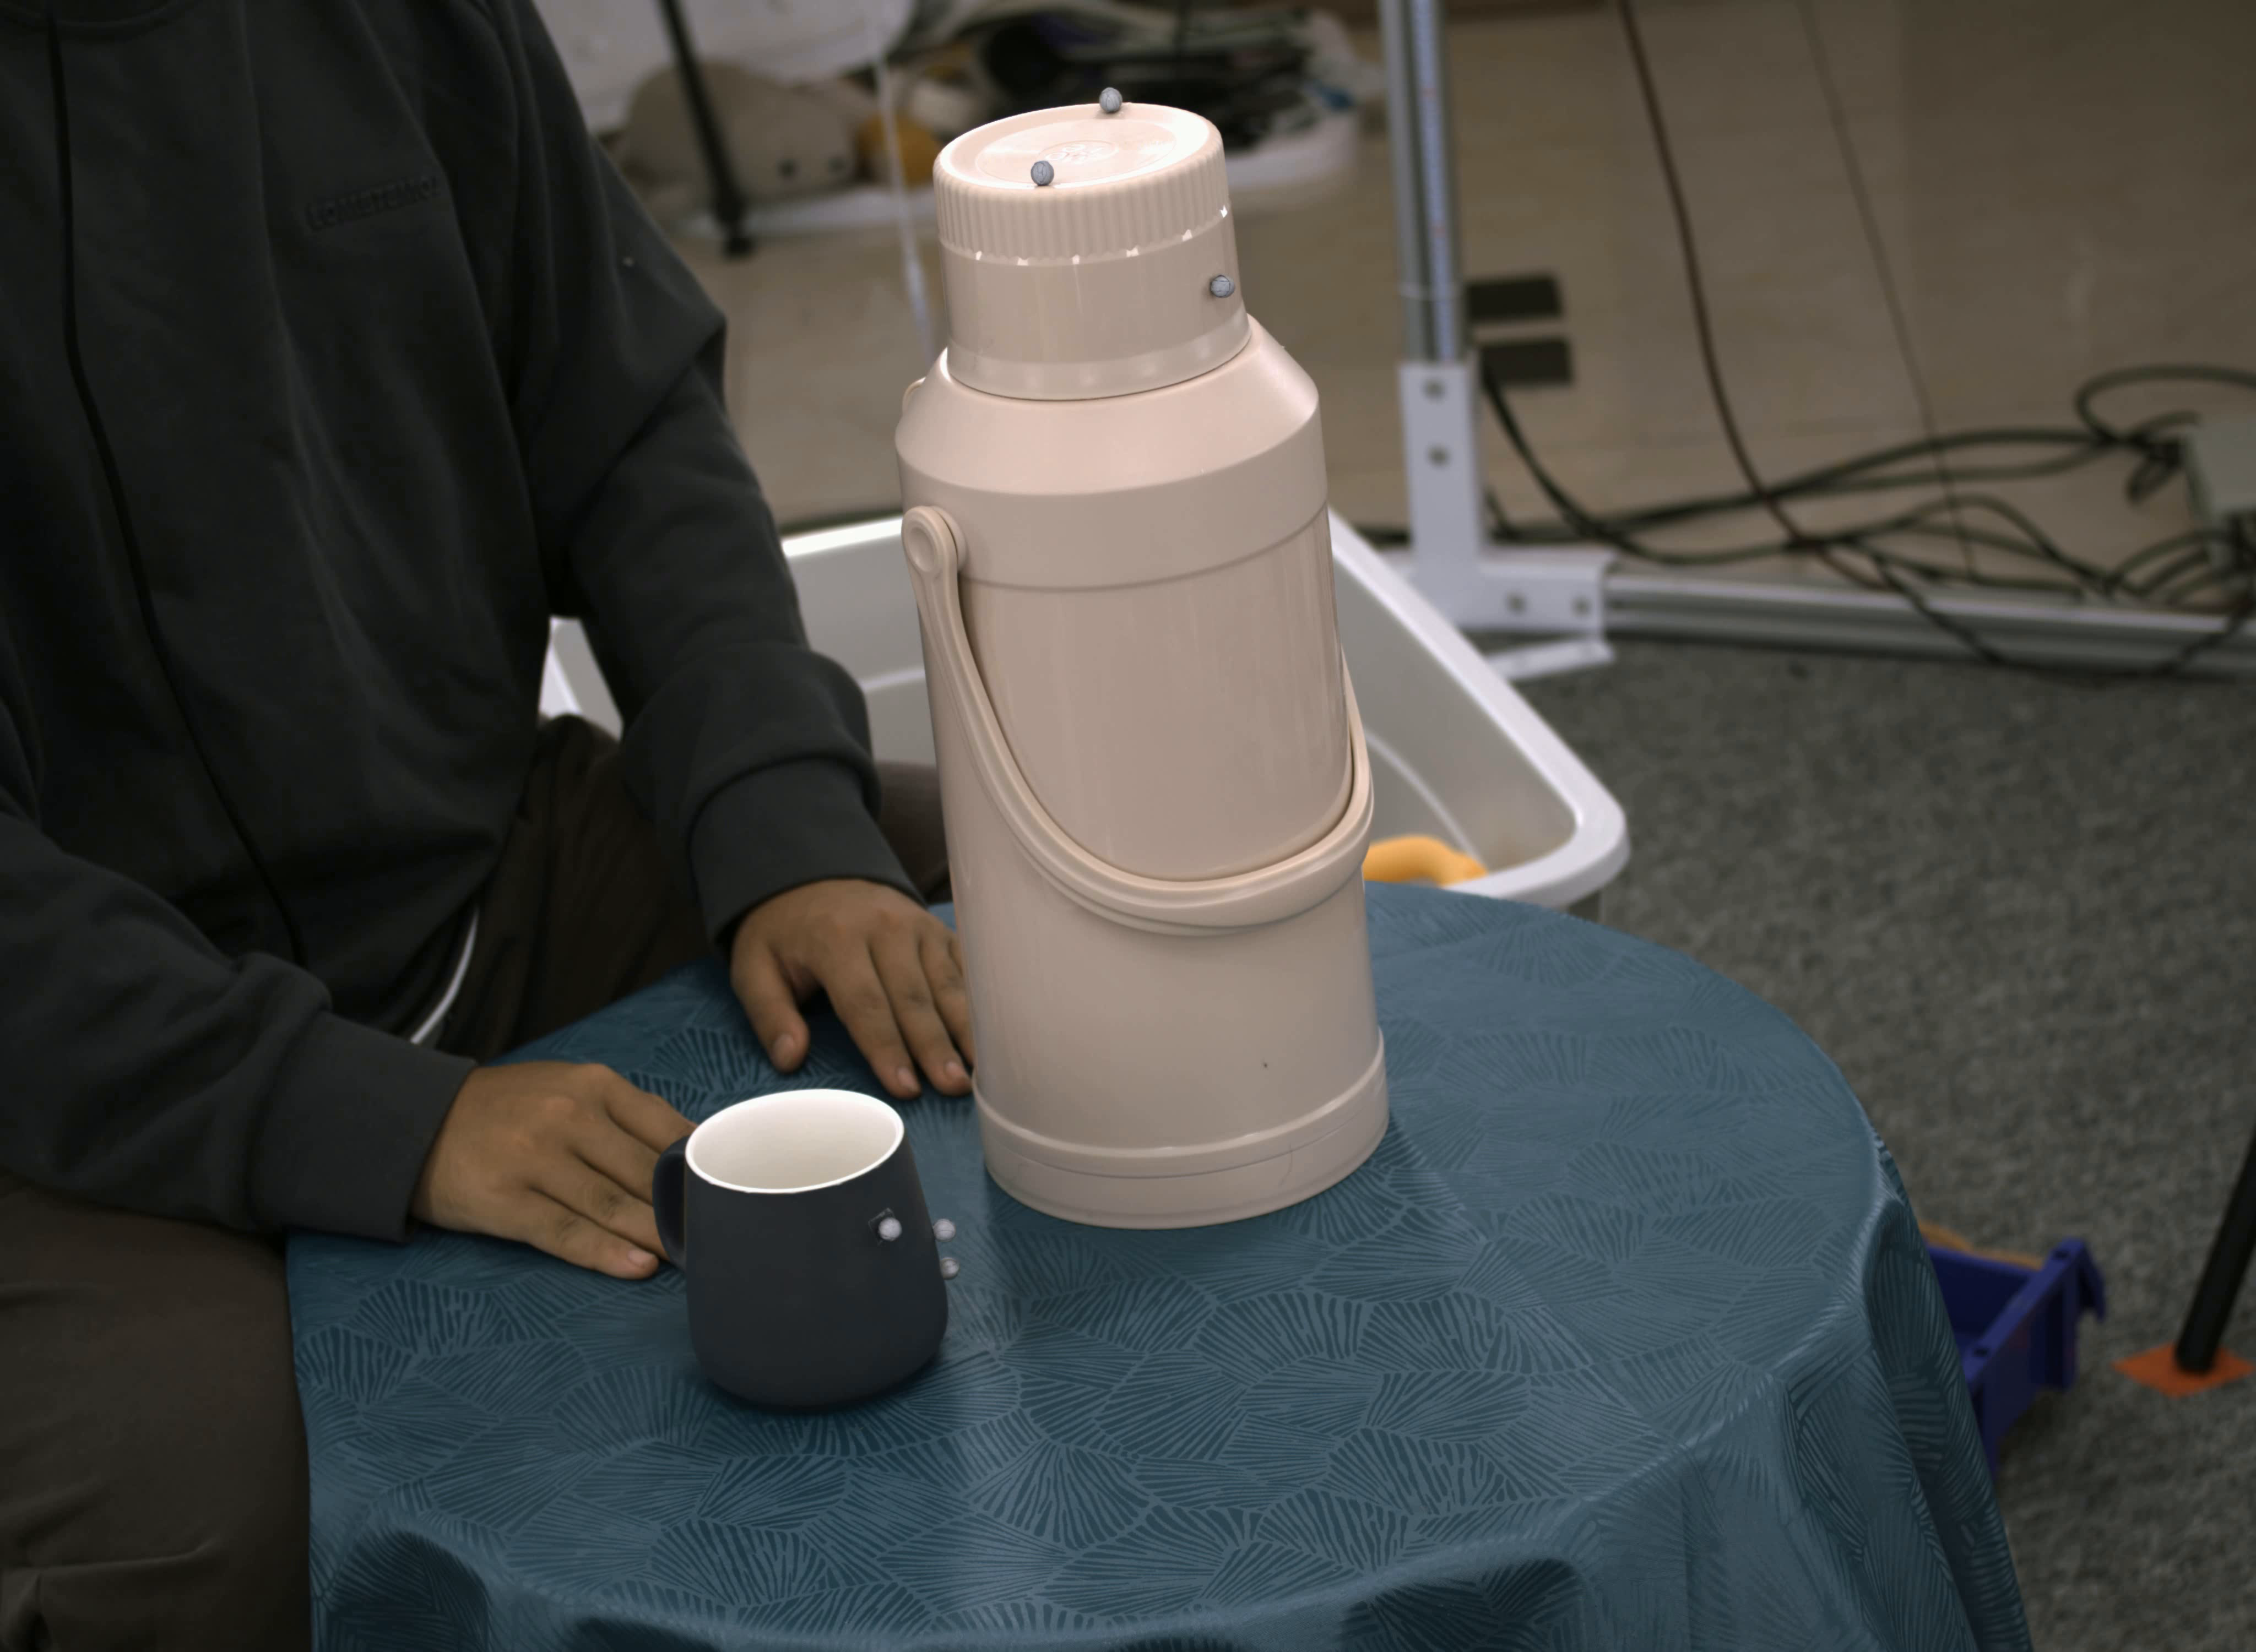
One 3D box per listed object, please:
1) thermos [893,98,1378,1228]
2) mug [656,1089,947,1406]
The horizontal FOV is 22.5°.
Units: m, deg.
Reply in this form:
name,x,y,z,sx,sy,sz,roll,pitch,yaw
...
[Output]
name,x,y,z,sx,sy,sz,roll,pitch,yaw
thermos,-0.007,-0.066,2.112,0.174,0.413,0.205,-24,31,-32
mug,-0.125,0.148,2.047,0.122,0.091,0.093,18,34,42
